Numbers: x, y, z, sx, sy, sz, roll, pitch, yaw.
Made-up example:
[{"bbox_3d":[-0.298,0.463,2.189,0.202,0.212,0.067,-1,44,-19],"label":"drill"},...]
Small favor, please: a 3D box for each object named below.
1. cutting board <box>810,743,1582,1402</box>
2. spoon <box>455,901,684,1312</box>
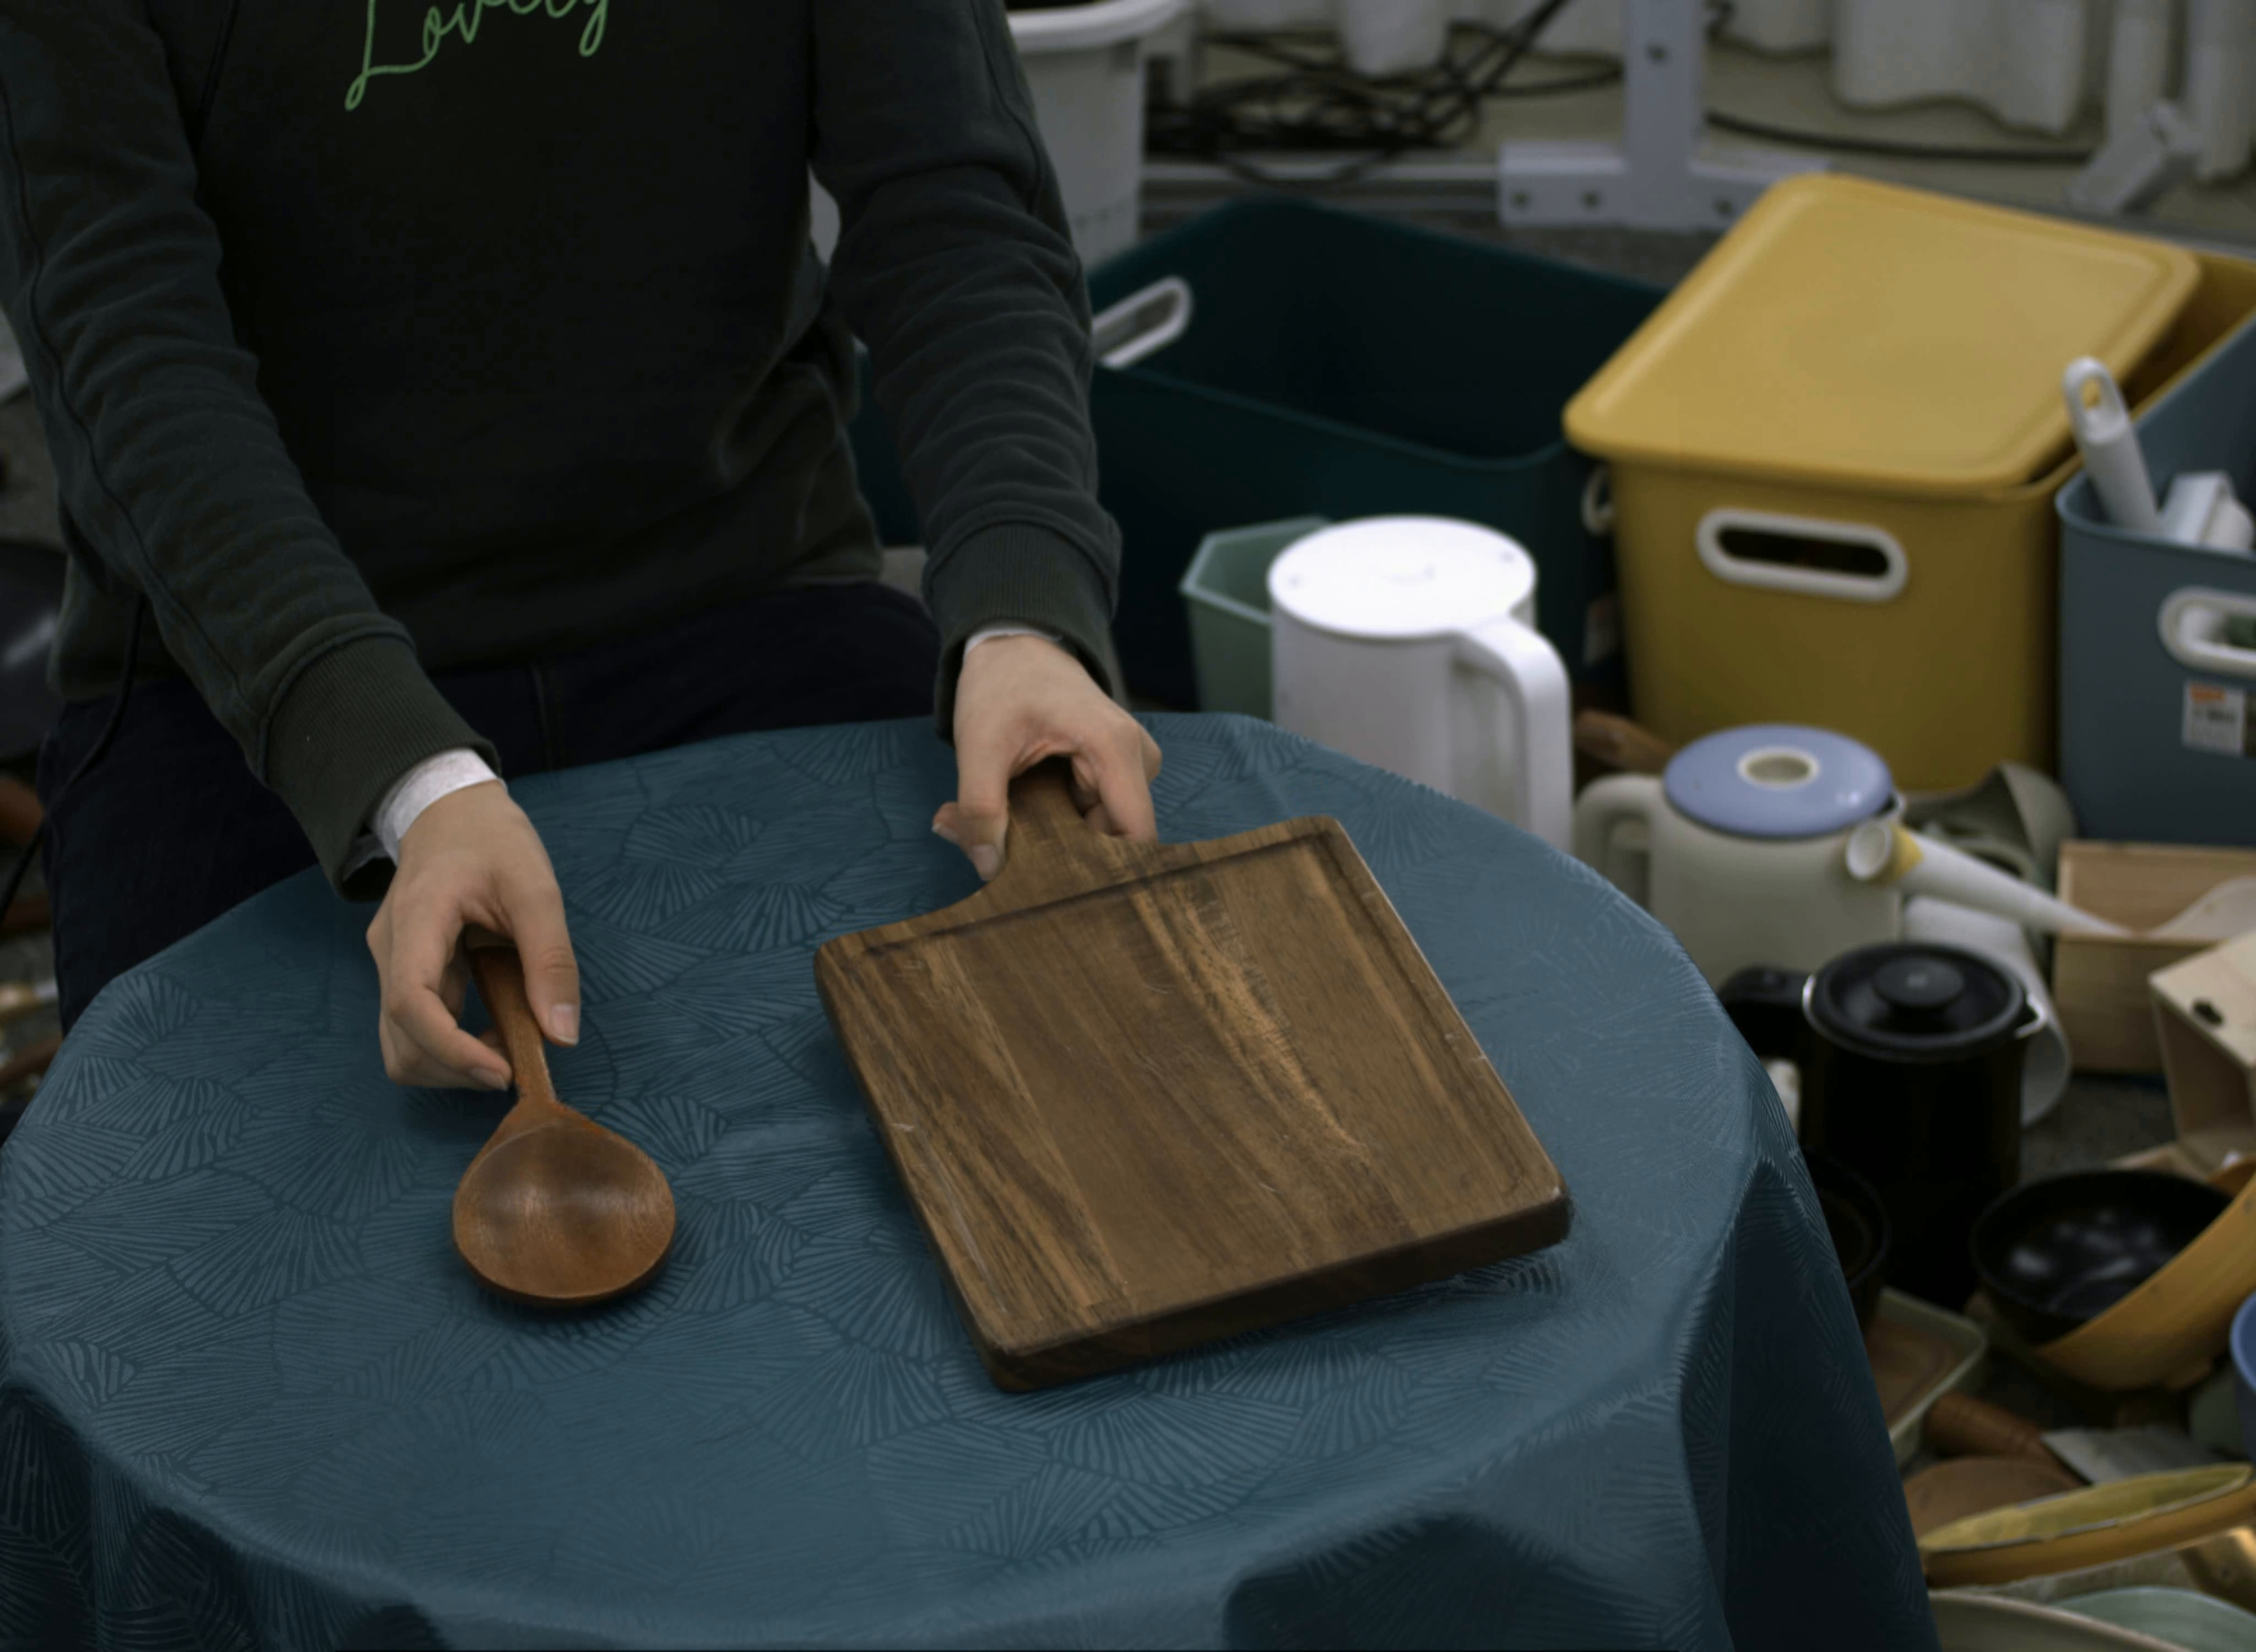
[{"bbox_3d":[0.003,0.064,1.913,0.201,0.023,0.356,-15,33,-10],"label":"cutting board"},{"bbox_3d":[-0.197,0.094,1.887,0.075,0.017,0.219,-9,37,-9],"label":"spoon"}]
